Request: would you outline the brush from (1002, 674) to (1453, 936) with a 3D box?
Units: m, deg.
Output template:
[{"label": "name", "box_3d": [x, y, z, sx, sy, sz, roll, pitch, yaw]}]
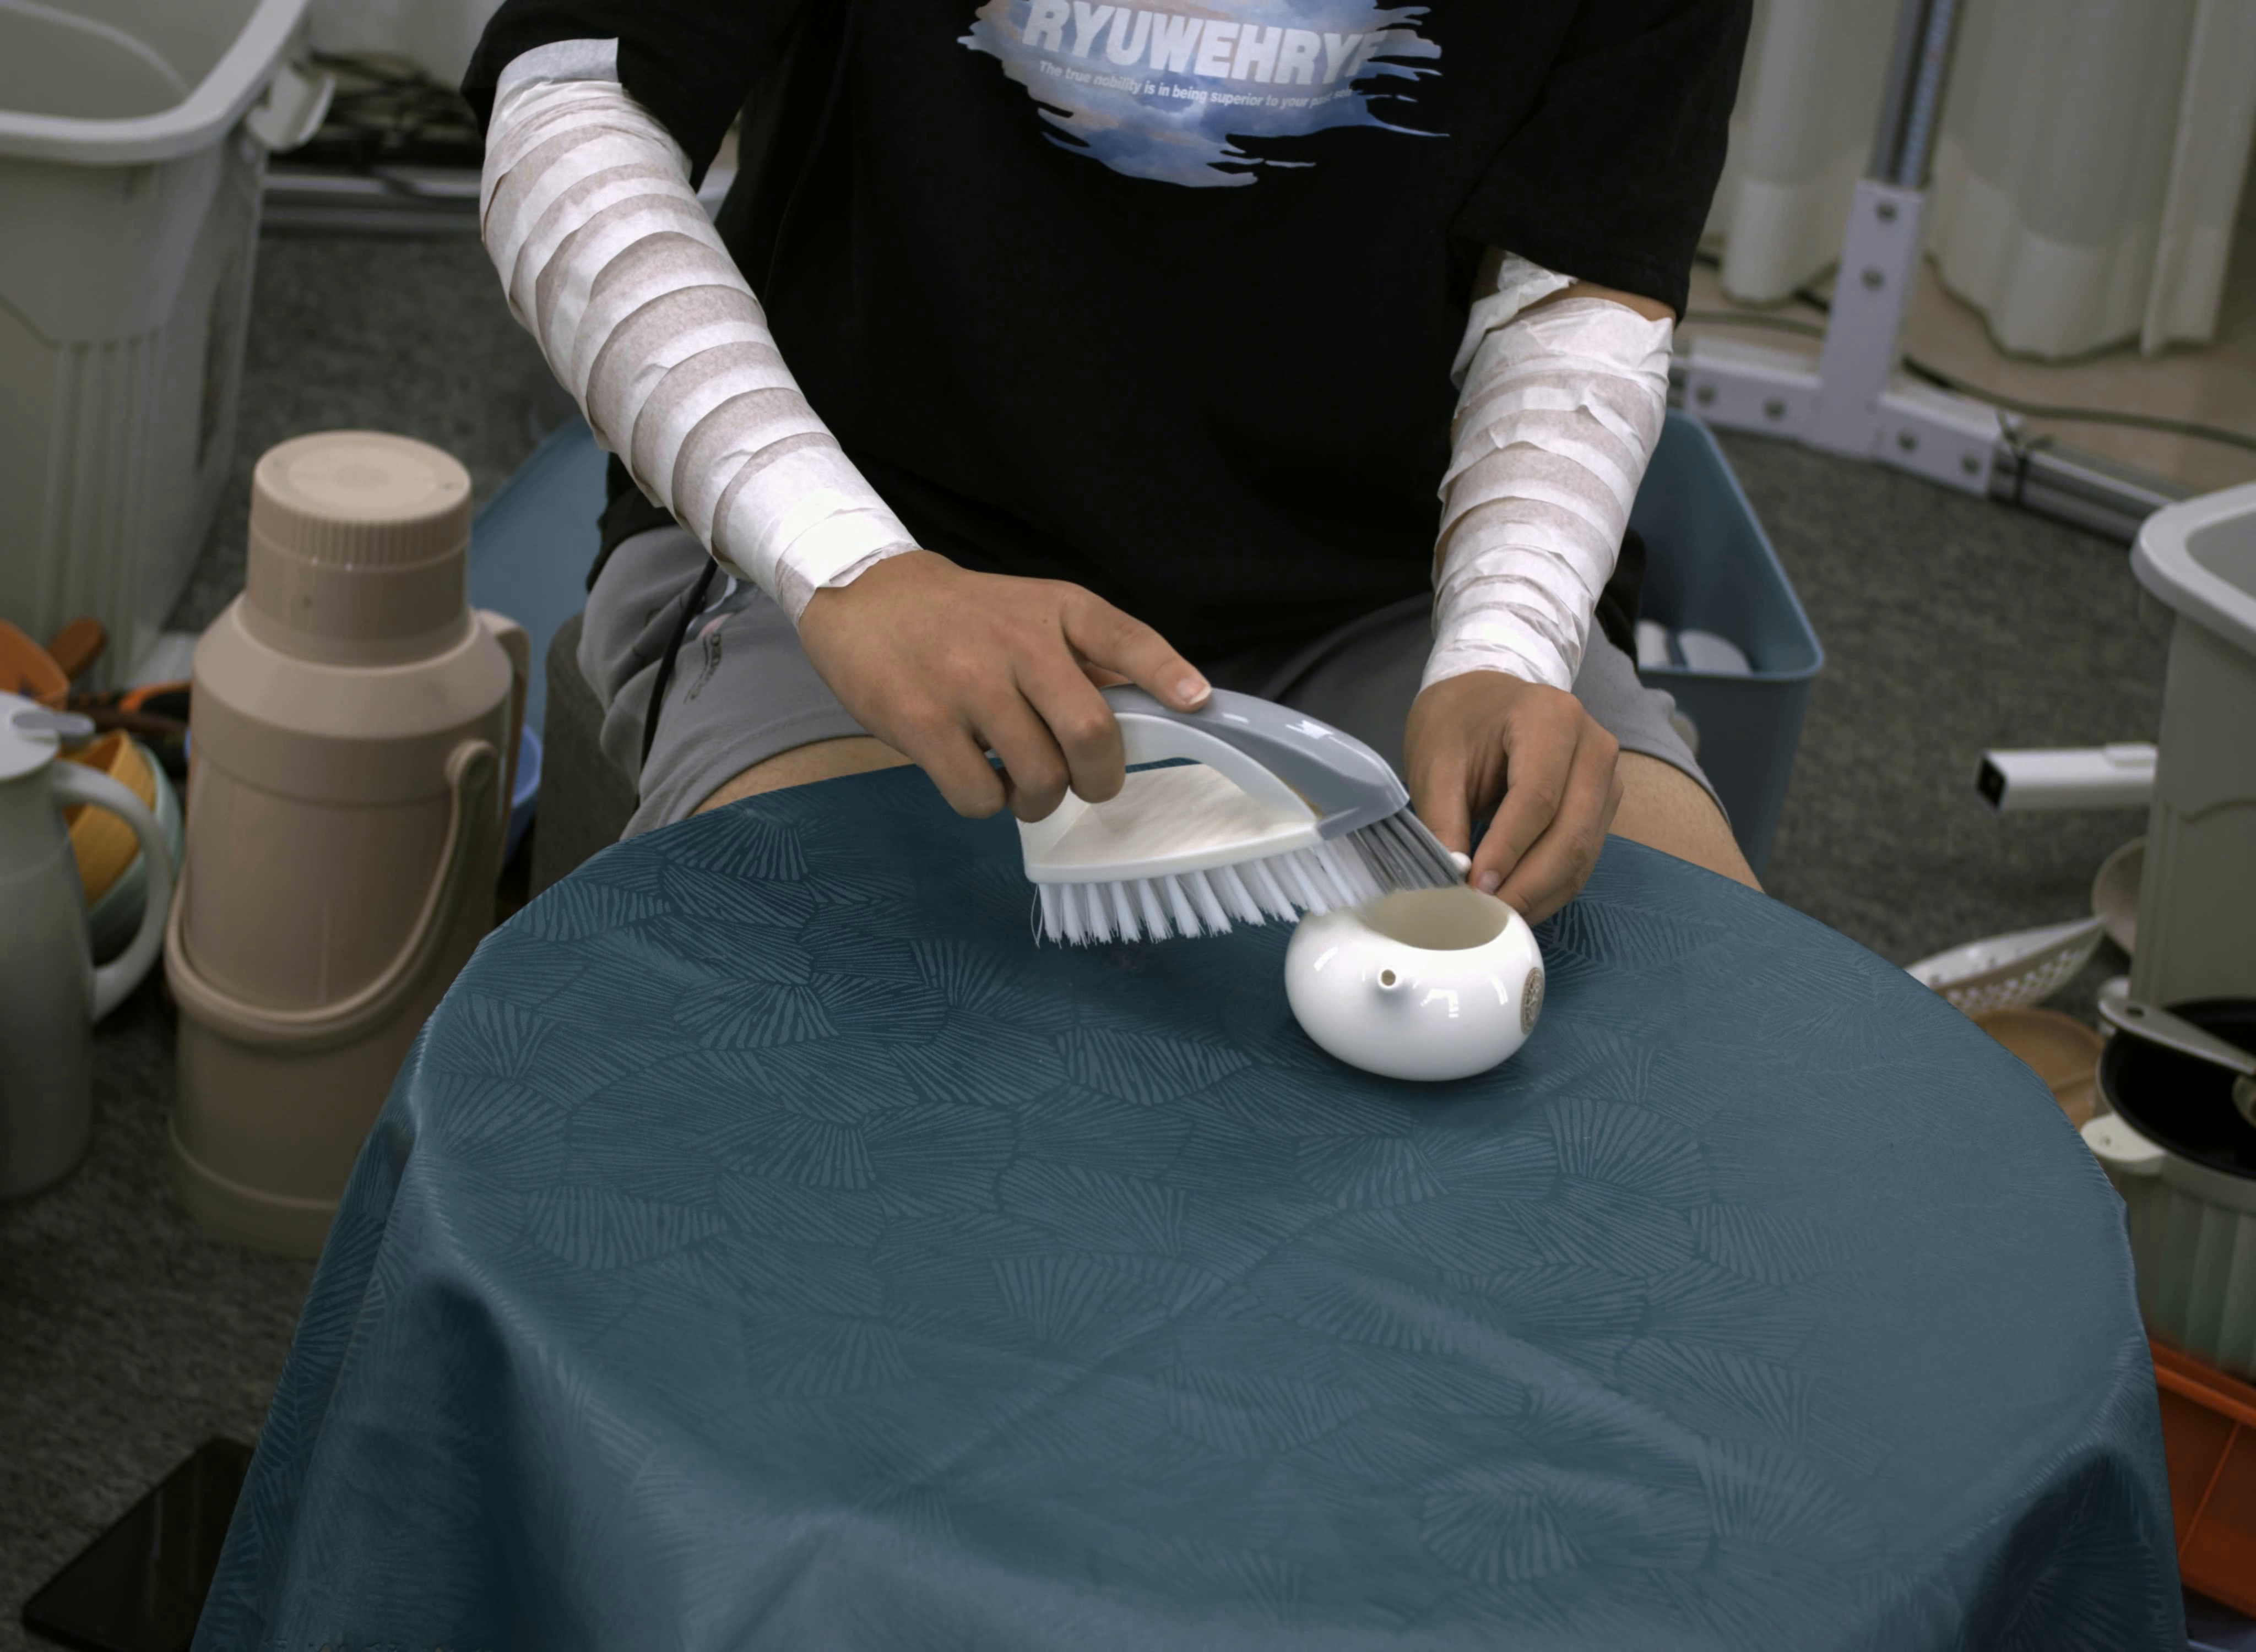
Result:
[{"label": "brush", "box_3d": [0.029, -0.015, 1.902, 0.176, 0.093, 0.061, -3, 37, 40]}]

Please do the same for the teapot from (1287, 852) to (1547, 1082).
[{"label": "teapot", "box_3d": [0.106, 0.050, 1.914, 0.093, 0.056, 0.127, 8, 25, 11]}]
